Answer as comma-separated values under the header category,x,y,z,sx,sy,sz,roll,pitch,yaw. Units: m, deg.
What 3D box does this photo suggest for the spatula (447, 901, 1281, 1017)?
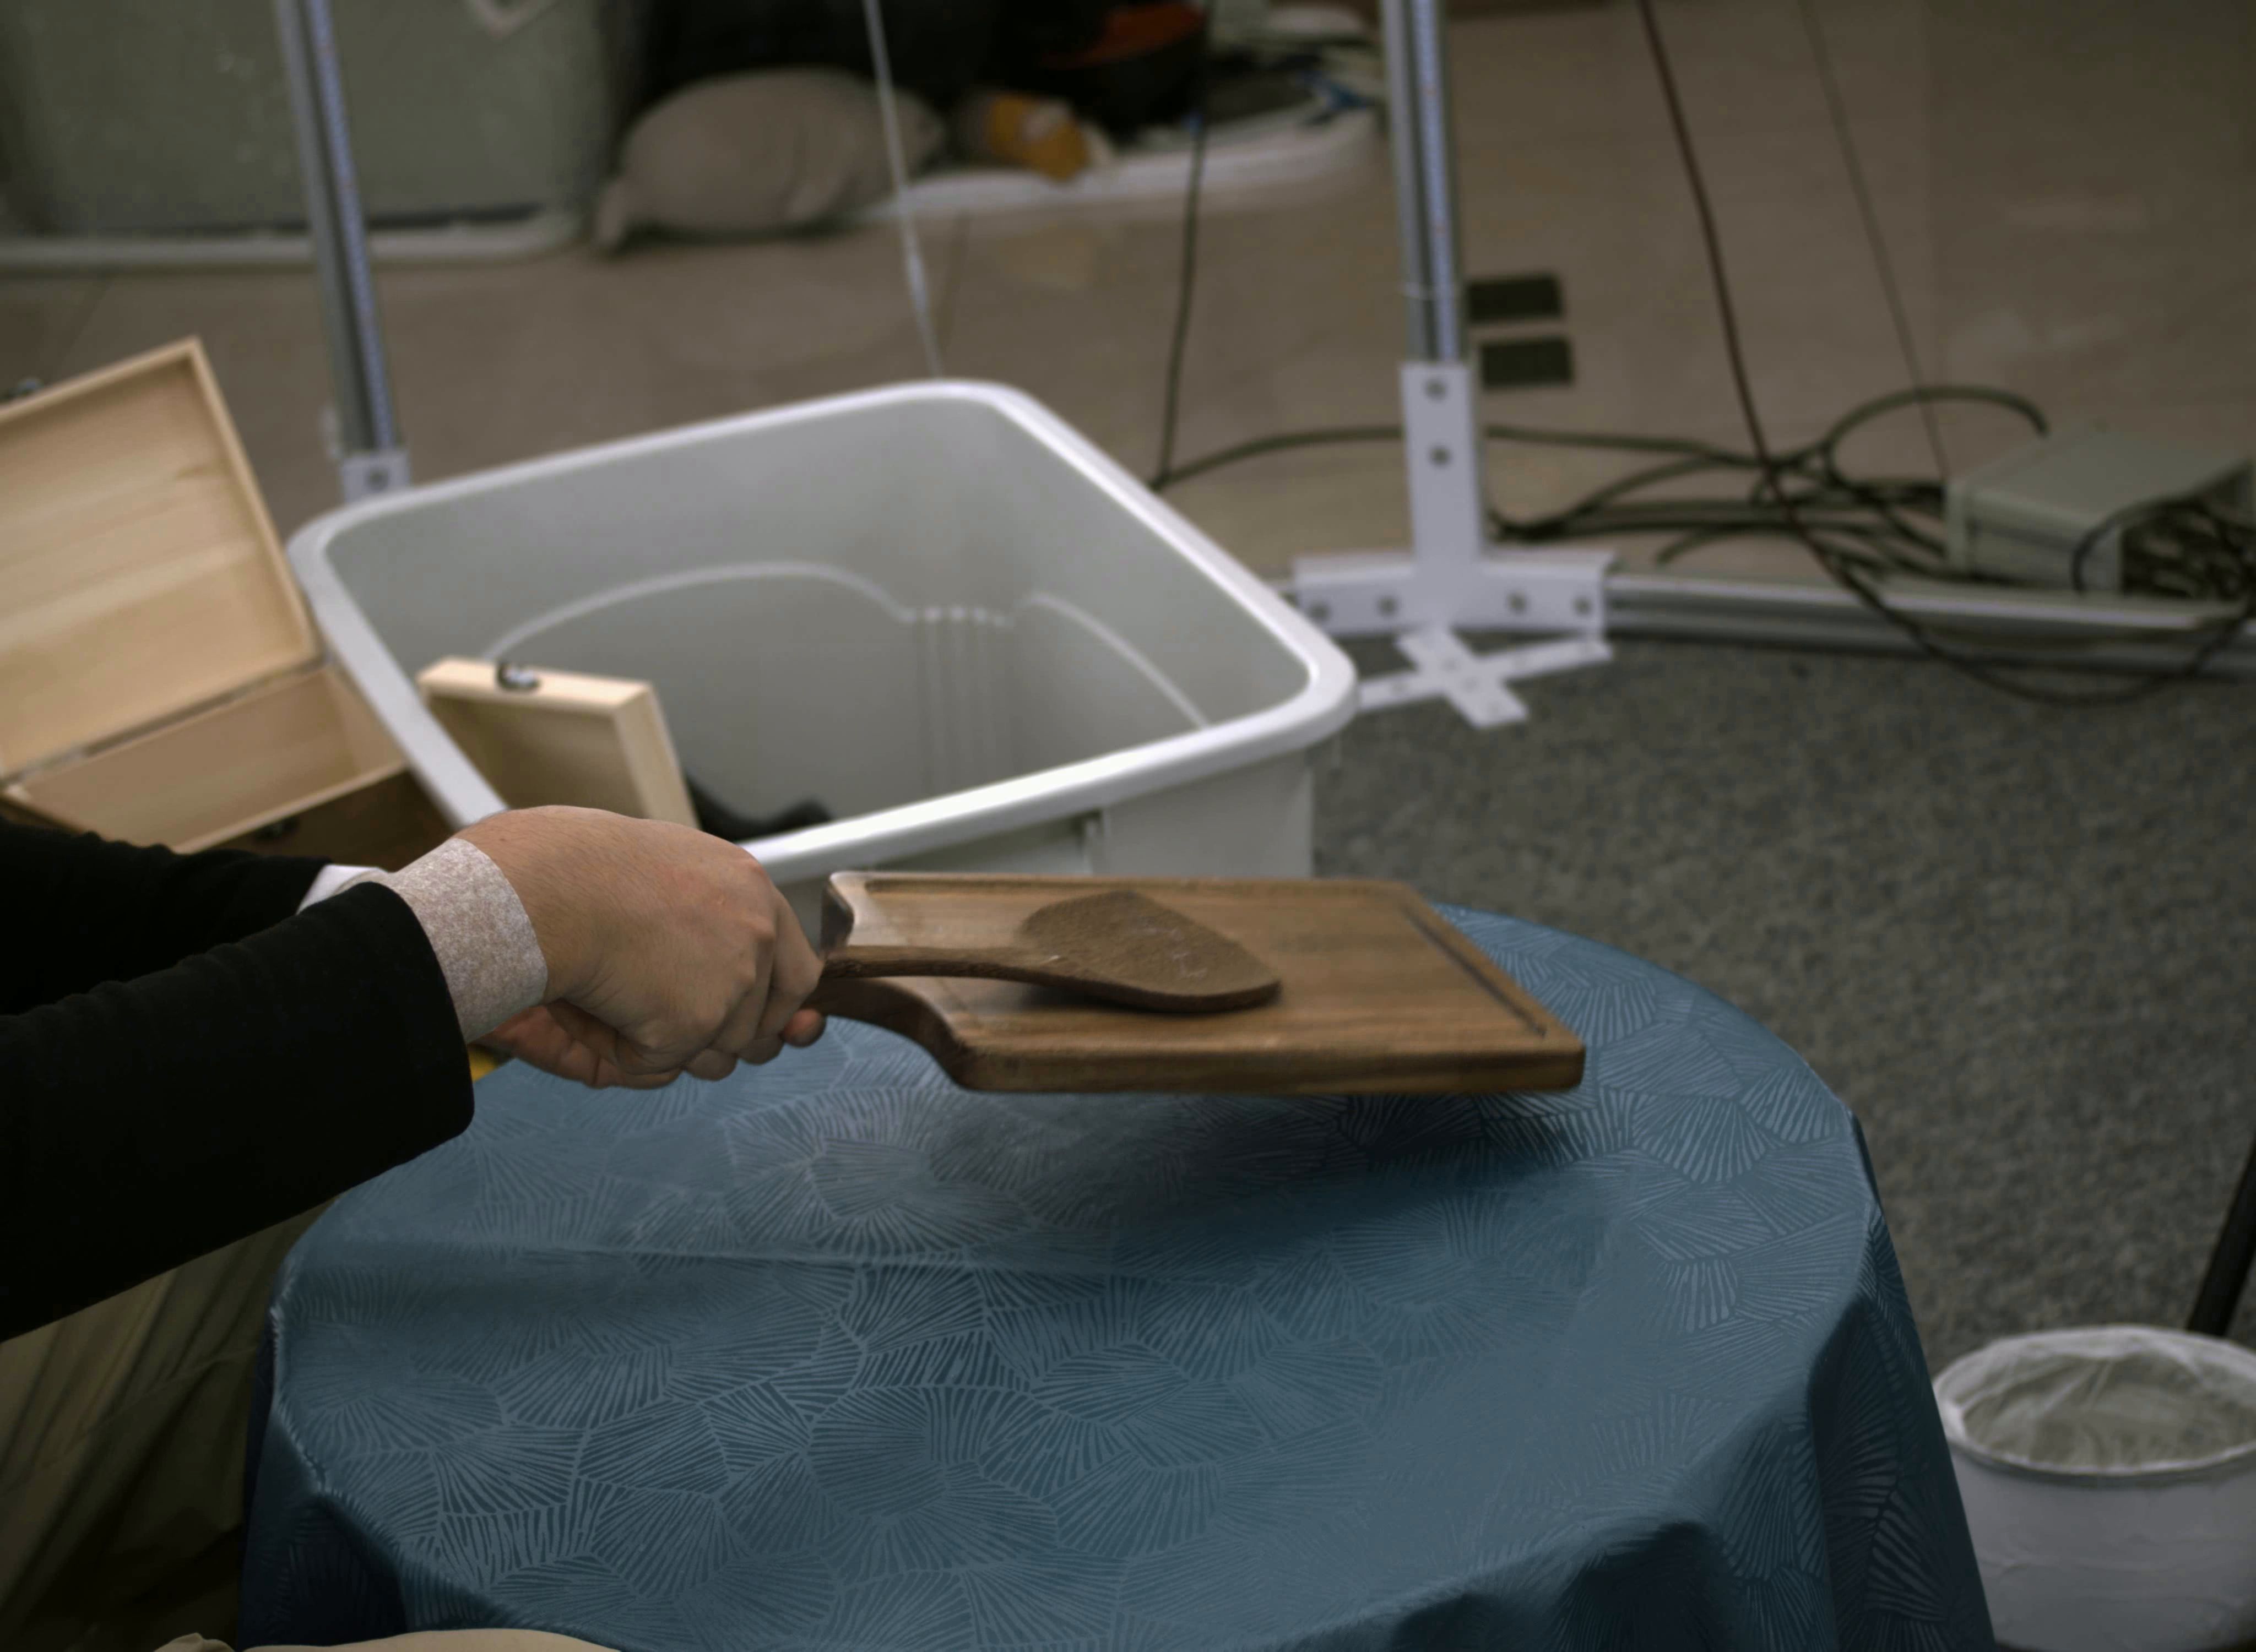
category,x,y,z,sx,sy,sz,roll,pitch,yaw
spatula,-0.094,0.049,2.040,0.095,0.016,0.386,29,19,39

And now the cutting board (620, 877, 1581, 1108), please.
category,x,y,z,sx,sy,sz,roll,pitch,yaw
cutting board,-0.023,0.061,2.154,0.352,0.023,0.198,2,19,-21
